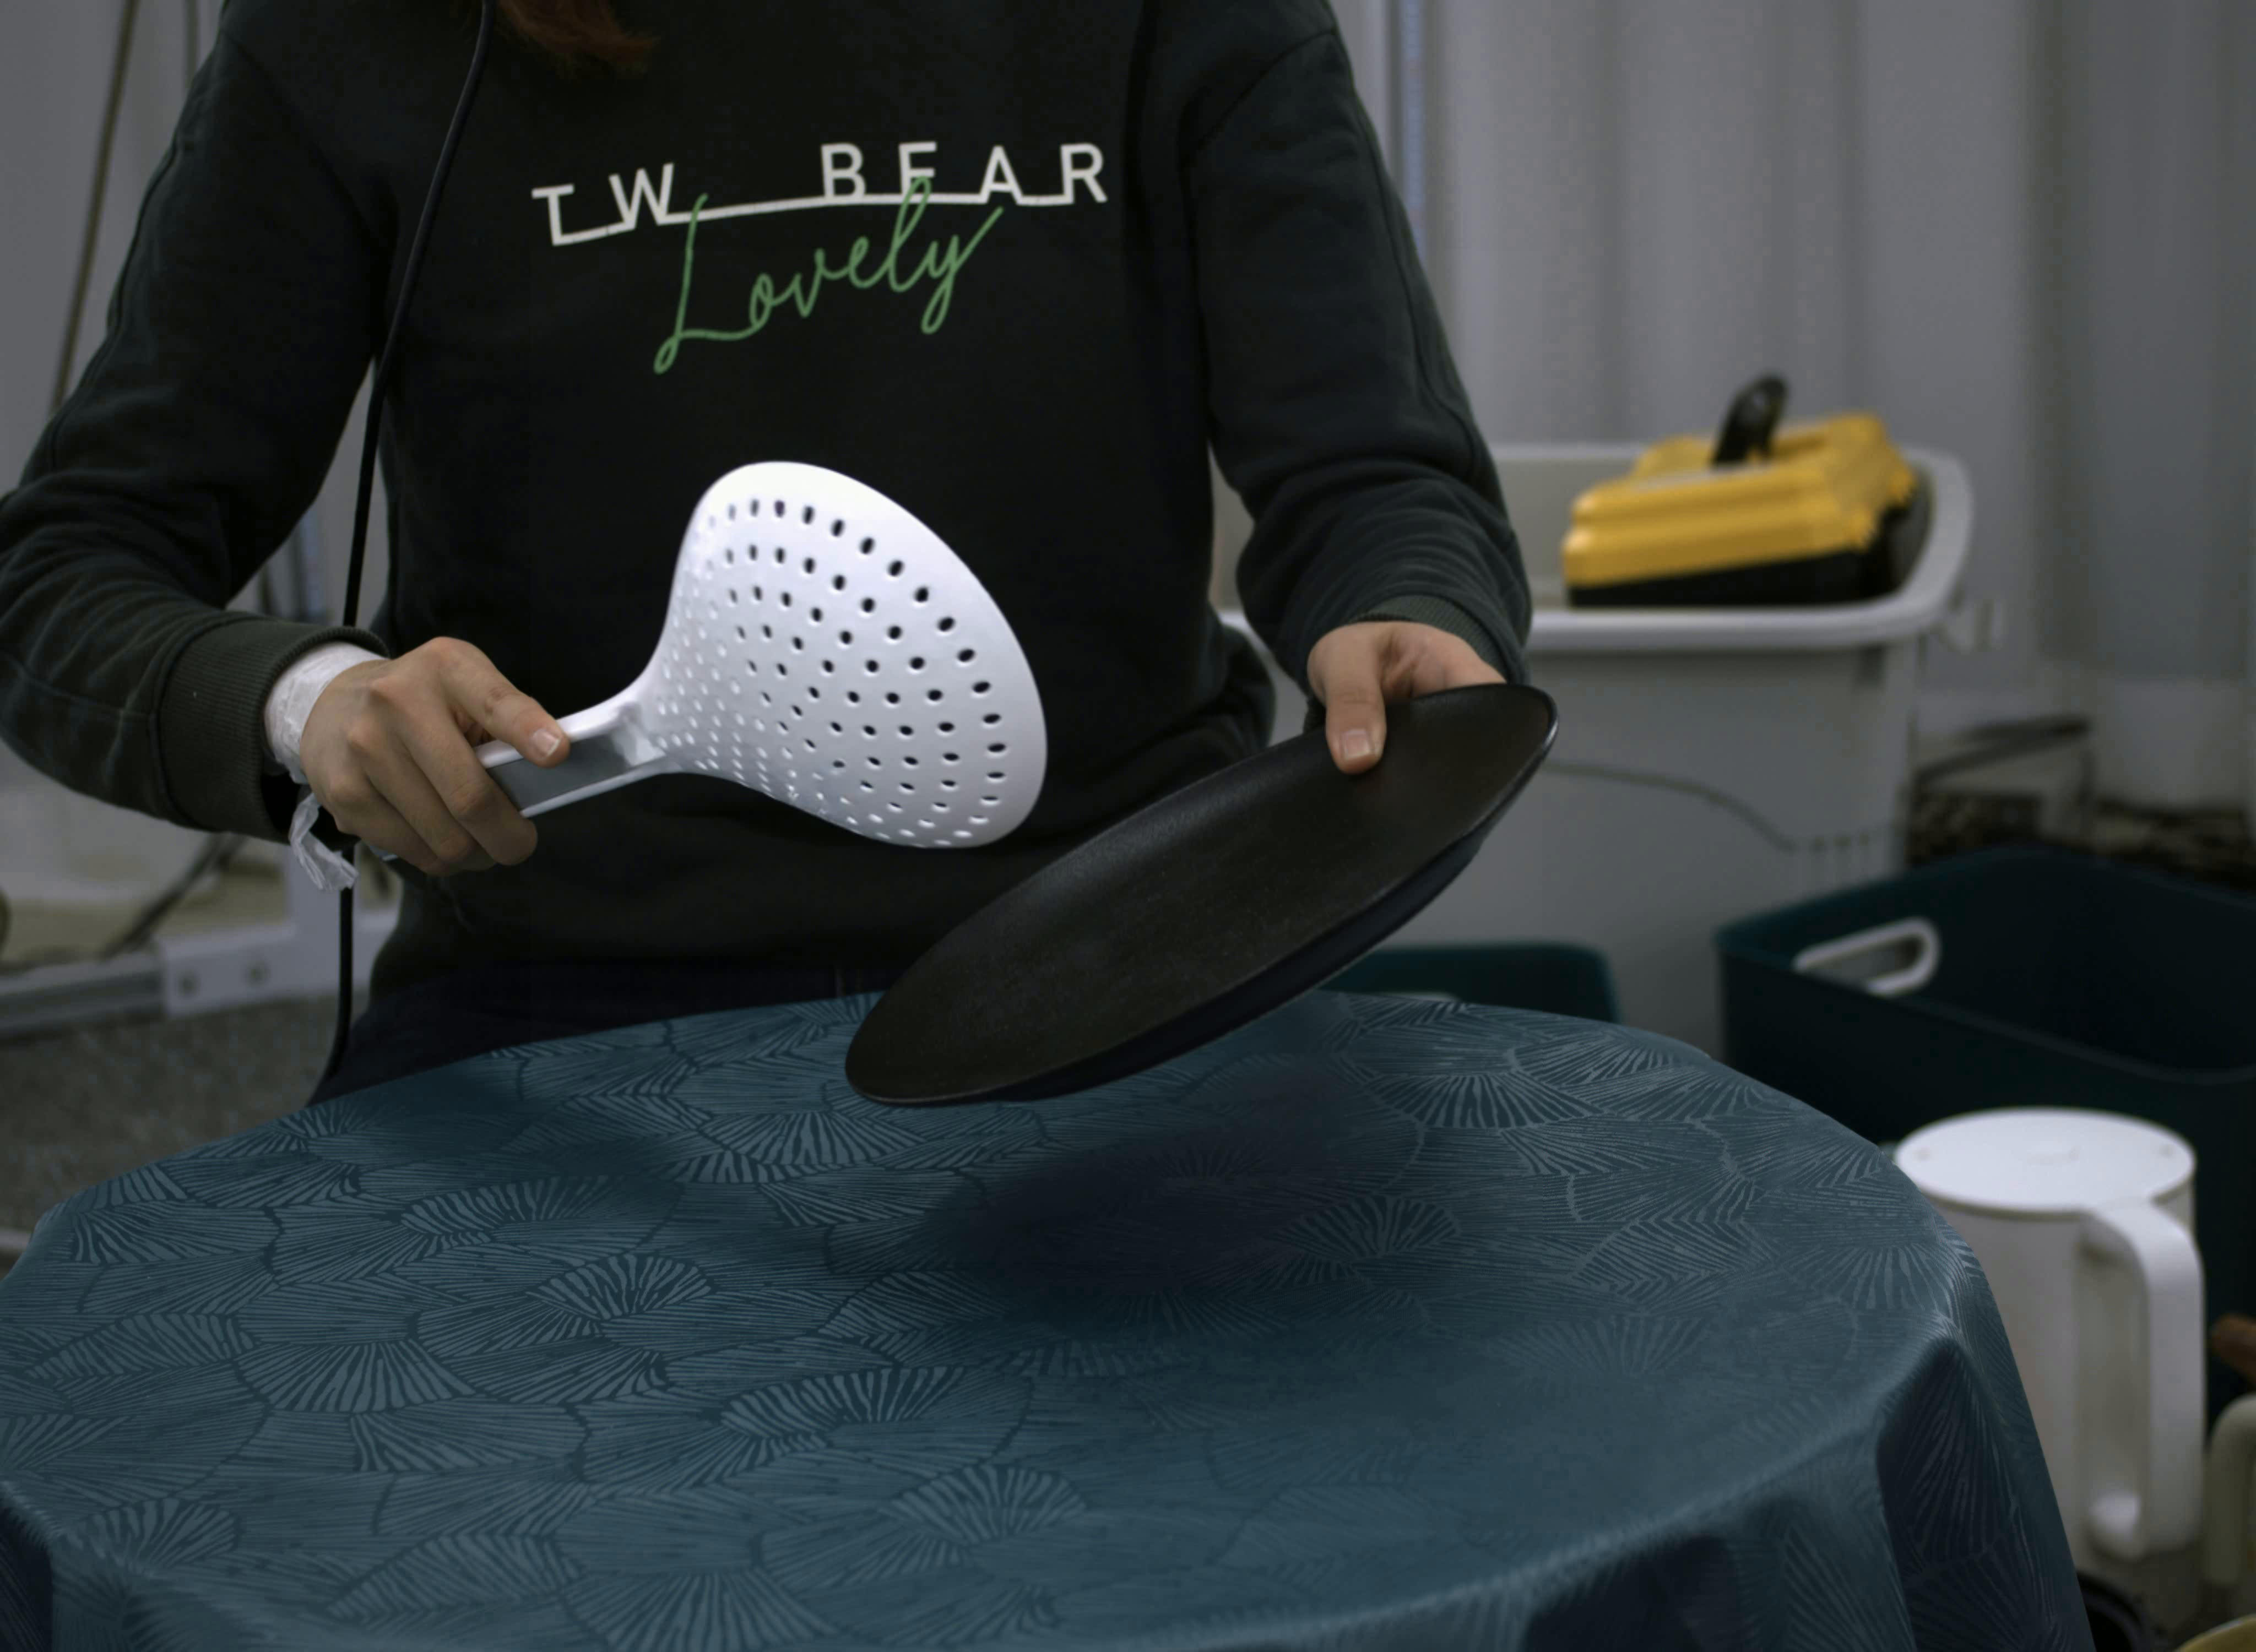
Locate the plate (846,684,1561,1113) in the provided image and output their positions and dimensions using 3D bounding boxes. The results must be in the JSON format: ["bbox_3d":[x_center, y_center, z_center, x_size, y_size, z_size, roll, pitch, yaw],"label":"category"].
[{"bbox_3d":[0.026,0.028,1.657,0.244,0.023,0.246,-27,14,6],"label":"plate"}]

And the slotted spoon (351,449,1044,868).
[{"bbox_3d":[-0.149,-0.030,1.716,0.046,0.135,0.349,-39,14,-32],"label":"slotted spoon"}]
